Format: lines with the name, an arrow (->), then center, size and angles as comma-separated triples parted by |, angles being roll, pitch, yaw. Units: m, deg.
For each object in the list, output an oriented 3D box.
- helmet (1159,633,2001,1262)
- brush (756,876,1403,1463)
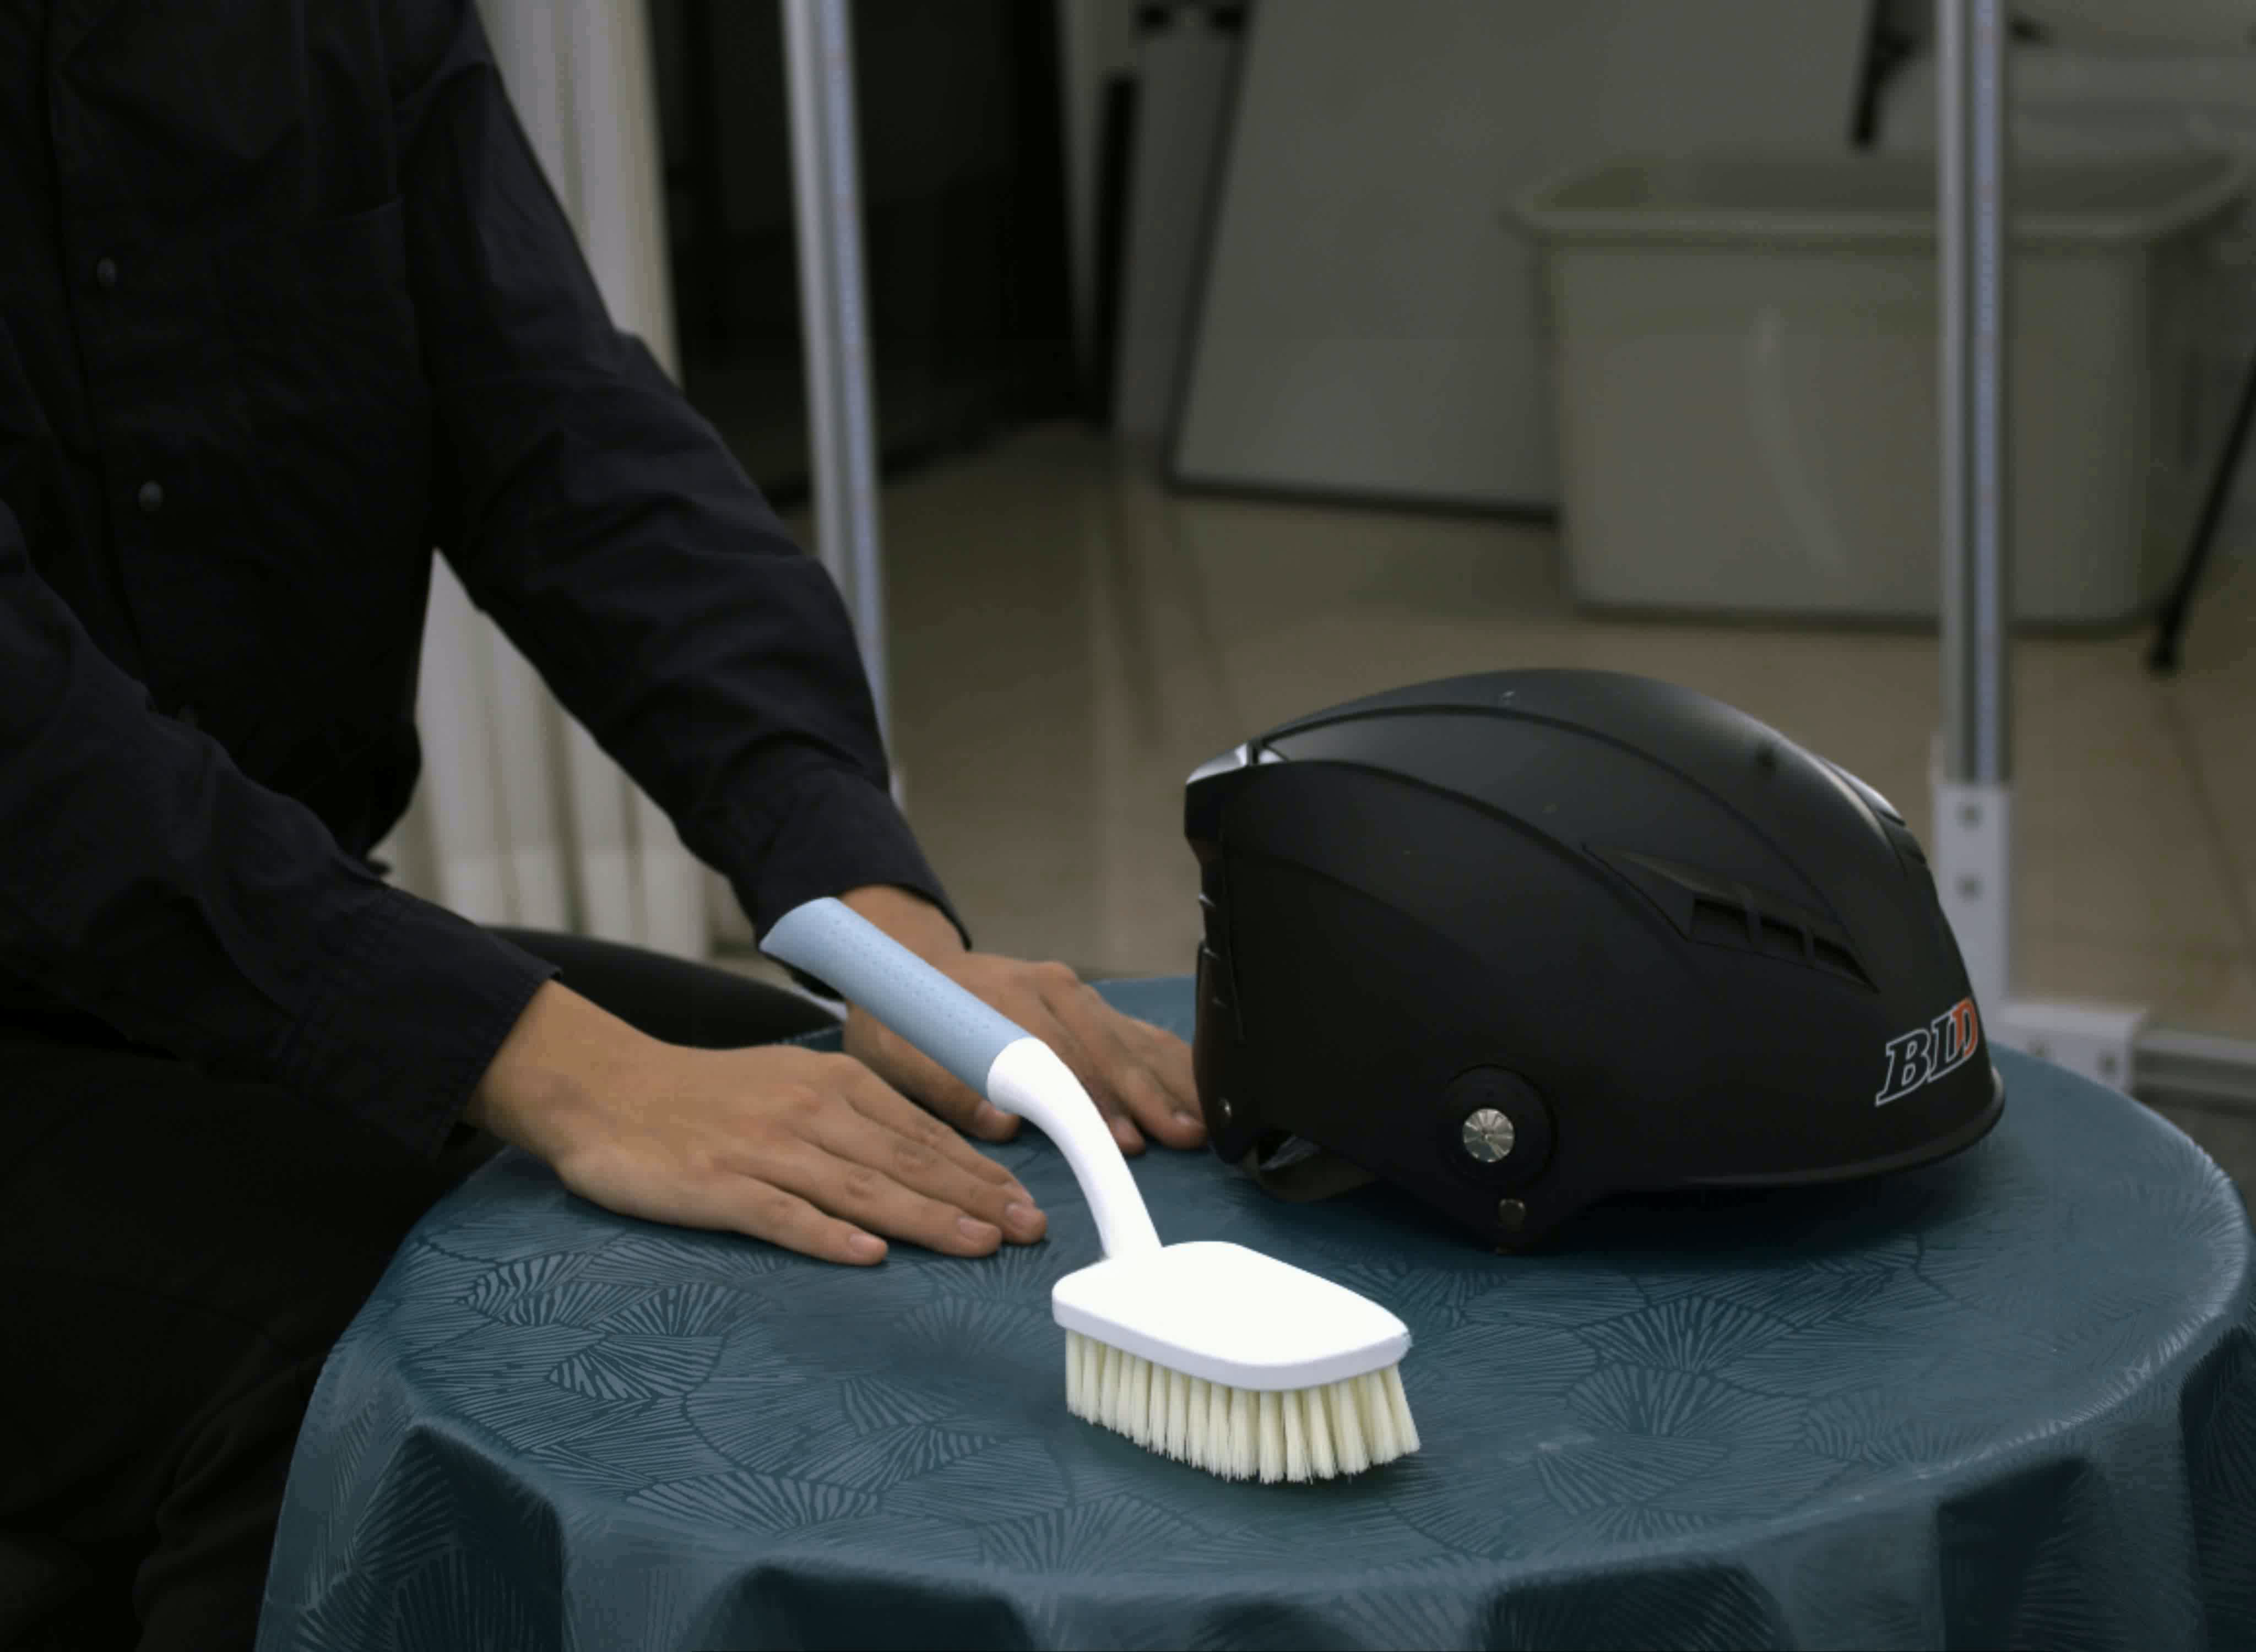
helmet -> 0.145, 0.027, 1.767 | 0.278, 0.174, 0.242 | 9, 19, 36
brush -> -0.020, 0.115, 1.624 | 0.081, 0.085, 0.329 | 33, 0, -42
